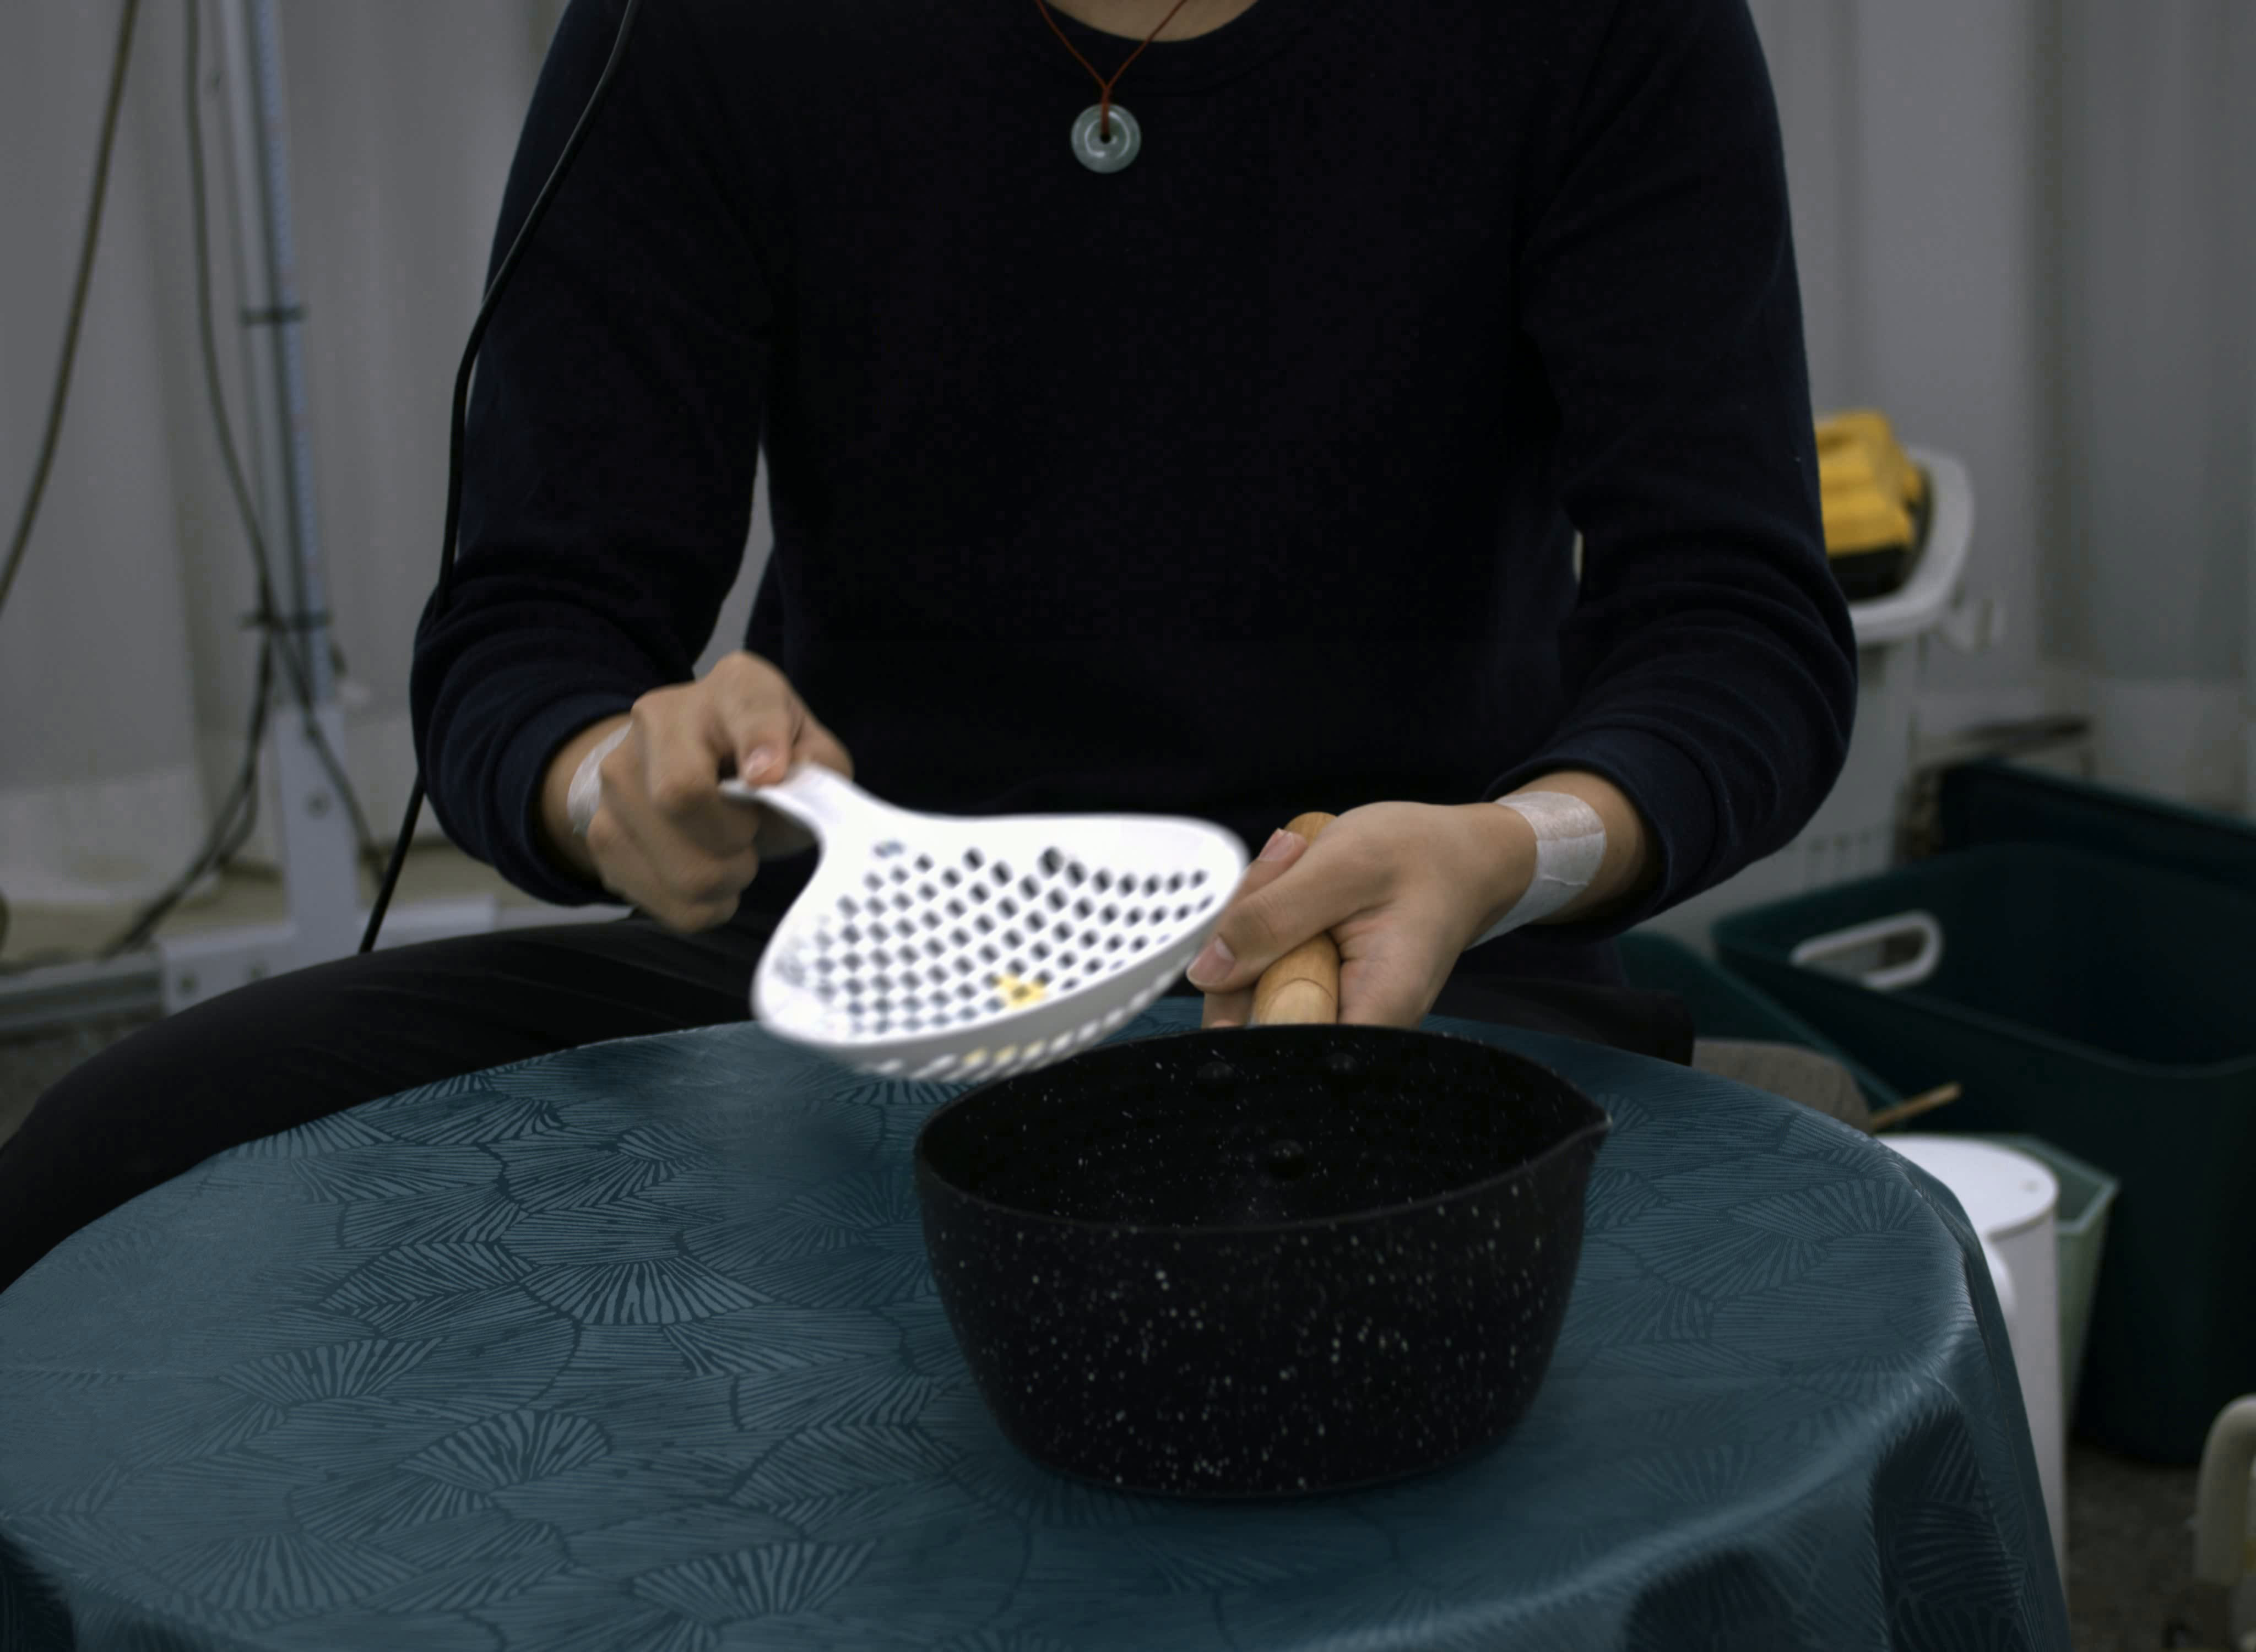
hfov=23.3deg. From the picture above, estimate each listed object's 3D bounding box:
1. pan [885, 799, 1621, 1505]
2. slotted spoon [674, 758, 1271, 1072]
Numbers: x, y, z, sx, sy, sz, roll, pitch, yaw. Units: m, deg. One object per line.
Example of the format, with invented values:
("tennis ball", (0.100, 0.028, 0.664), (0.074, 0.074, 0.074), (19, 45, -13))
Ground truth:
("pan", (0.043, 0.089, 1.590), (0.207, 0.108, 0.345), (-4, 15, 7))
("slotted spoon", (-0.067, 0.010, 1.557), (0.136, 0.050, 0.351), (-25, 24, -16))
